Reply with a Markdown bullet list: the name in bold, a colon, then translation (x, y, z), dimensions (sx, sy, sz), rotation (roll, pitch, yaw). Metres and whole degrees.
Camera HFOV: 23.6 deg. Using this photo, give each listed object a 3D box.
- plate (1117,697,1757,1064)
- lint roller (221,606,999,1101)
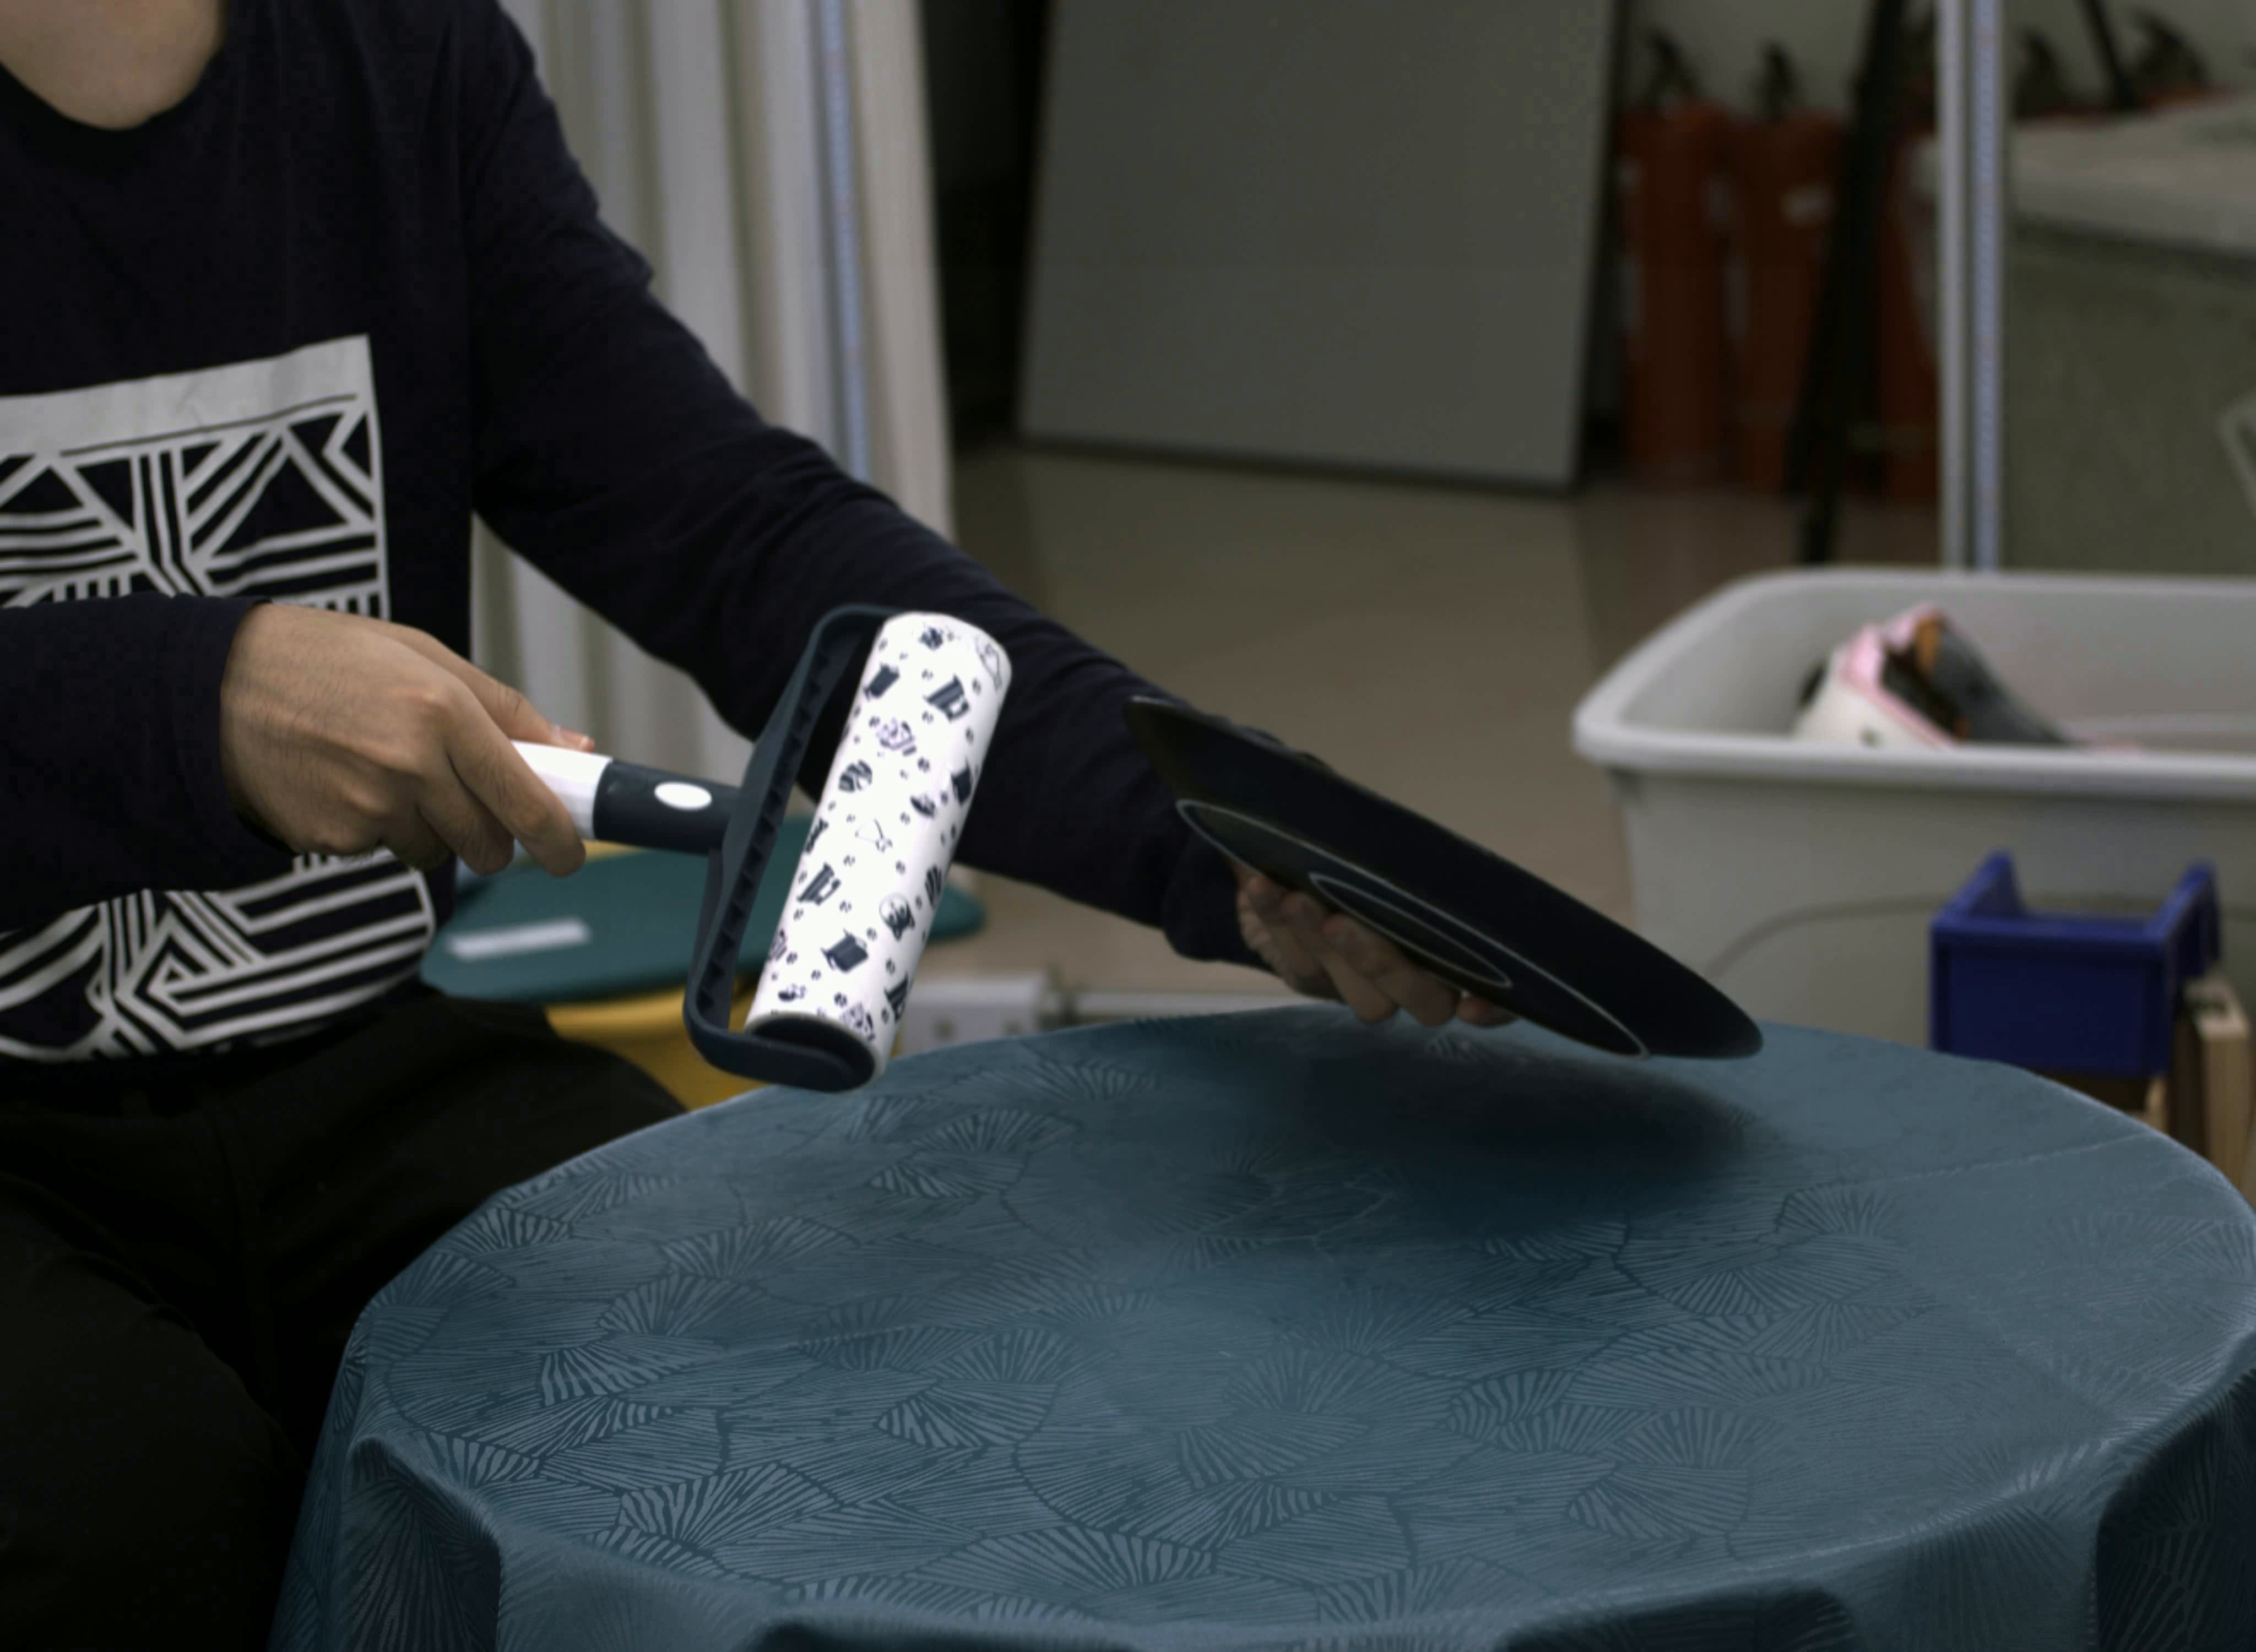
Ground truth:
- **plate**: translation (0.098, 0.027, 1.792), dimensions (0.243, 0.023, 0.244), rotation (29, -6, 2)
- **lint roller**: translation (-0.178, -0.008, 1.751), dimensions (0.245, 0.050, 0.177), rotation (10, 56, 11)
